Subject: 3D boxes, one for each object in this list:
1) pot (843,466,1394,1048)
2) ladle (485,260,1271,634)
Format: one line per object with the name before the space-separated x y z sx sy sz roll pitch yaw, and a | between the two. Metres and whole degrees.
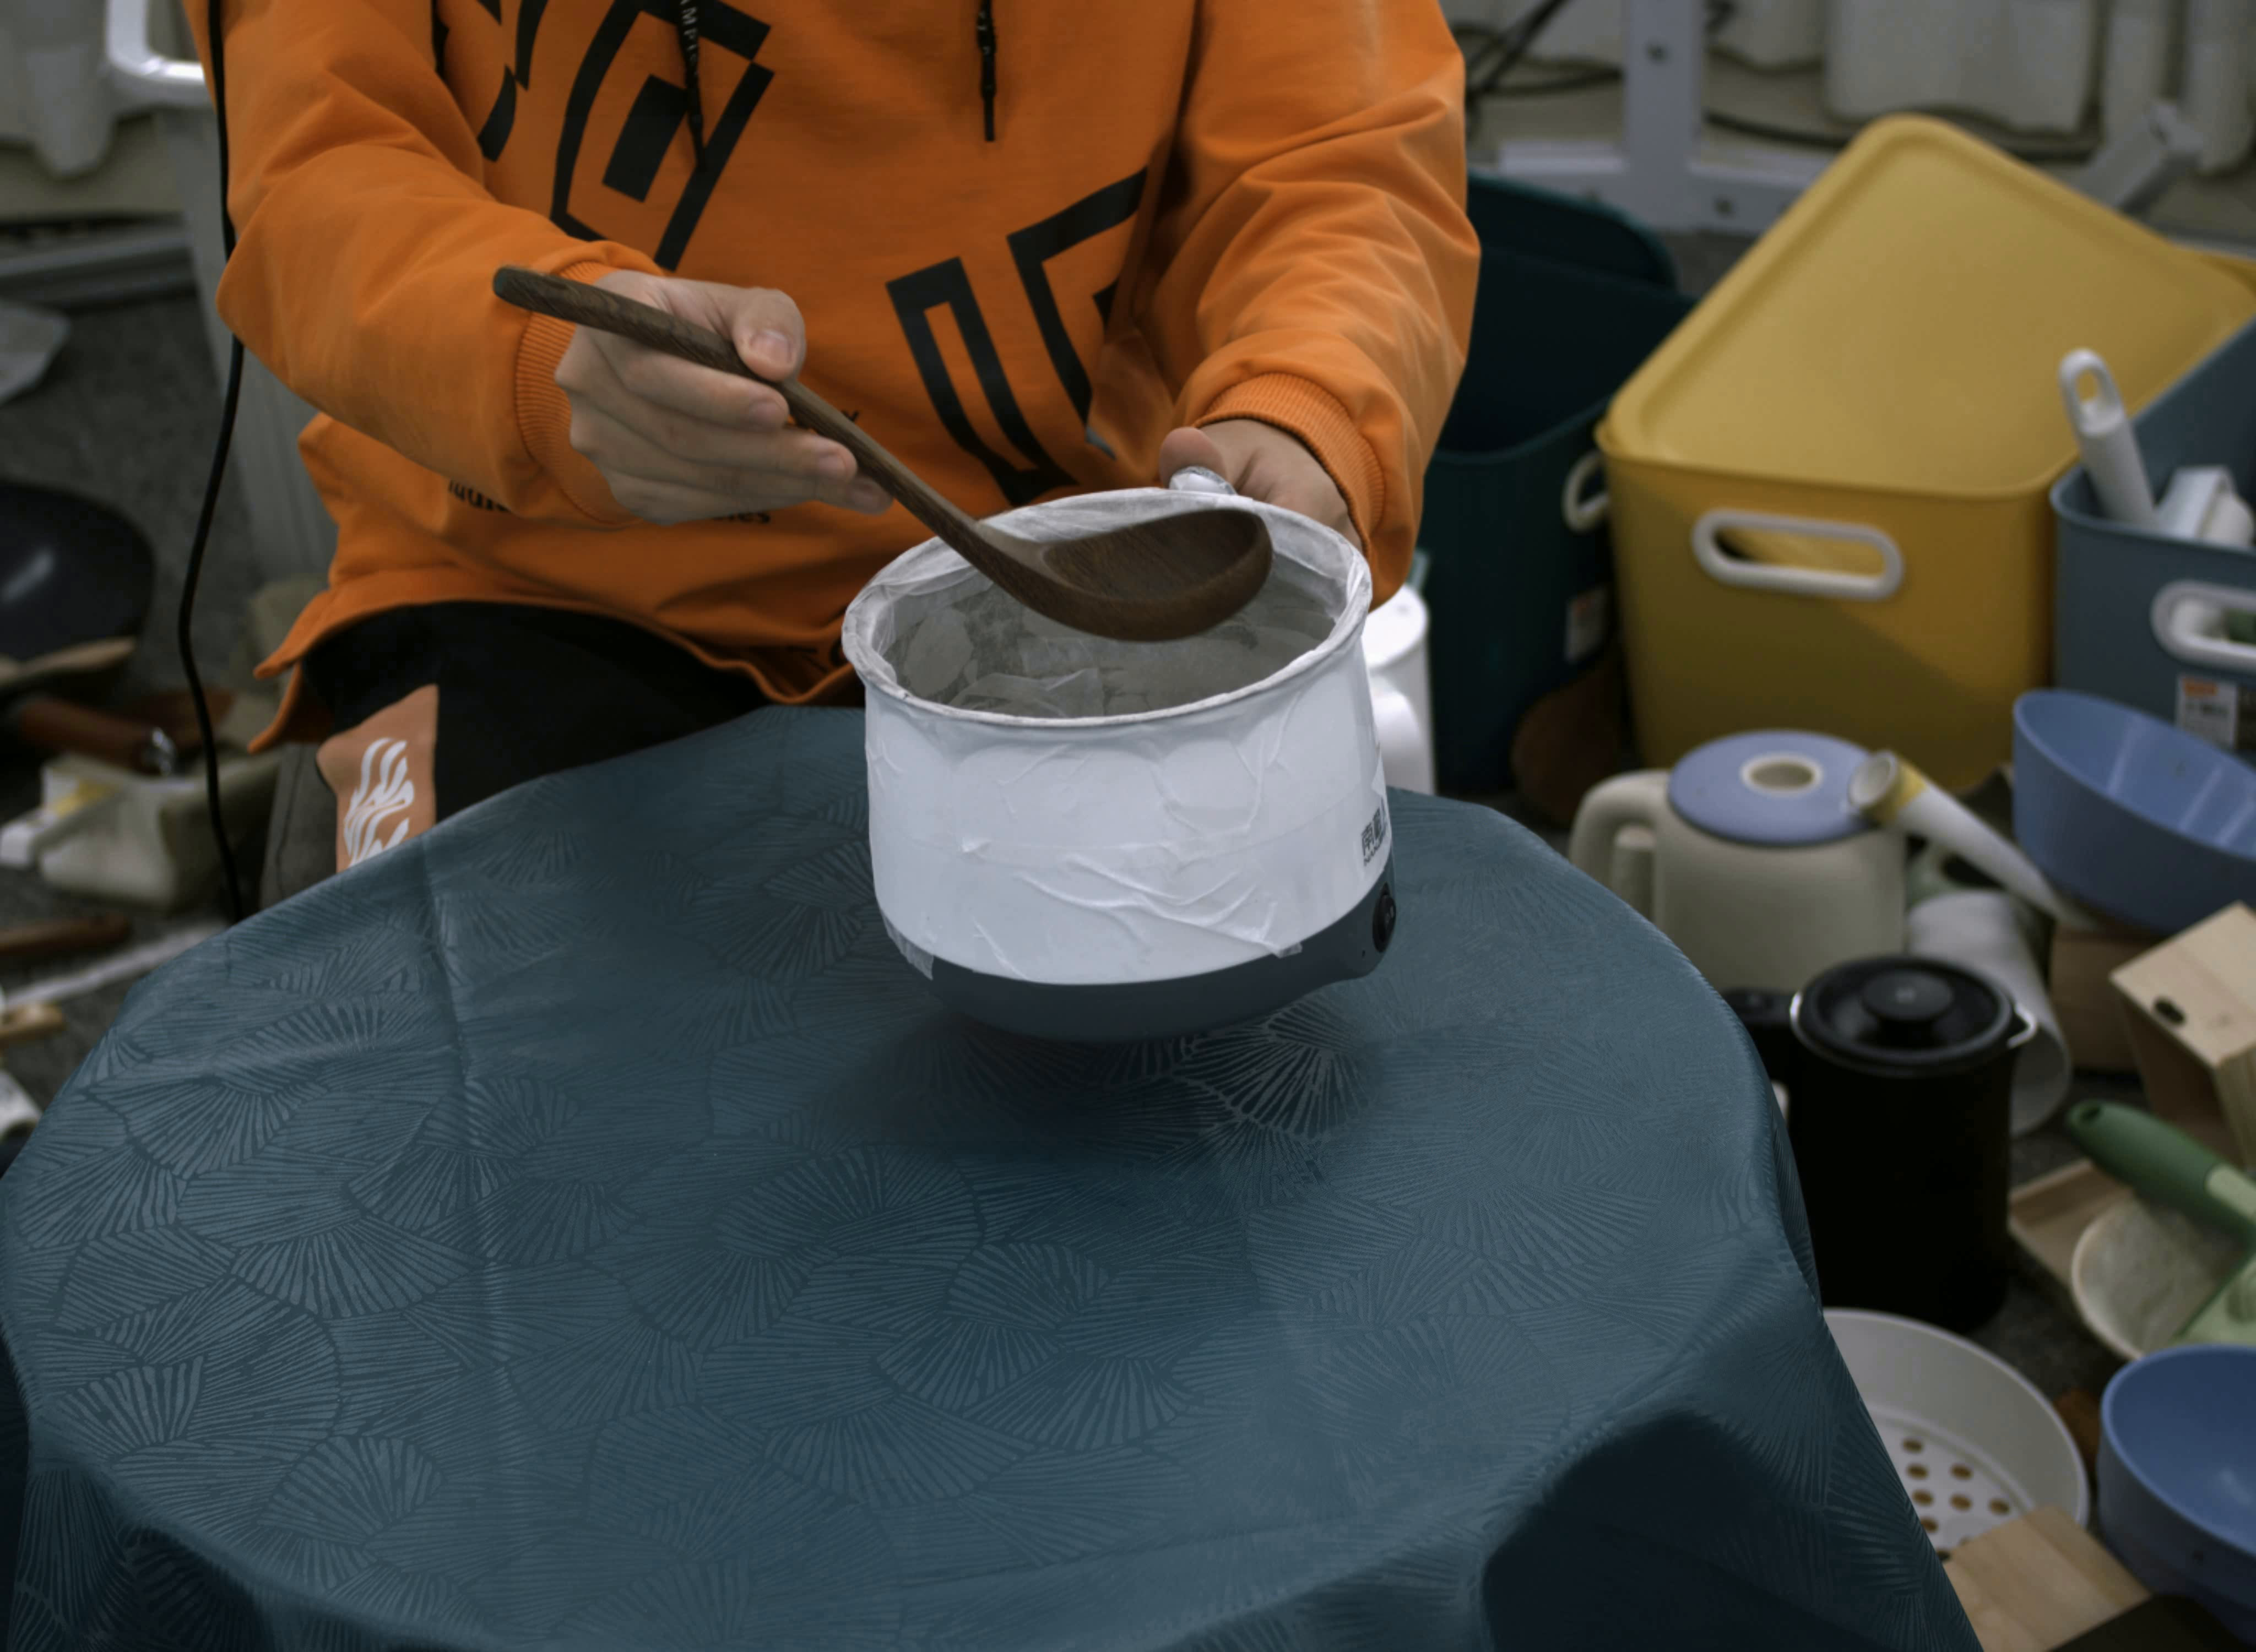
pot | 0.006 -0.030 1.916 0.177 0.135 0.238 3 28 16
ladle | -0.077 -0.140 1.857 0.273 0.071 0.076 31 9 -19
